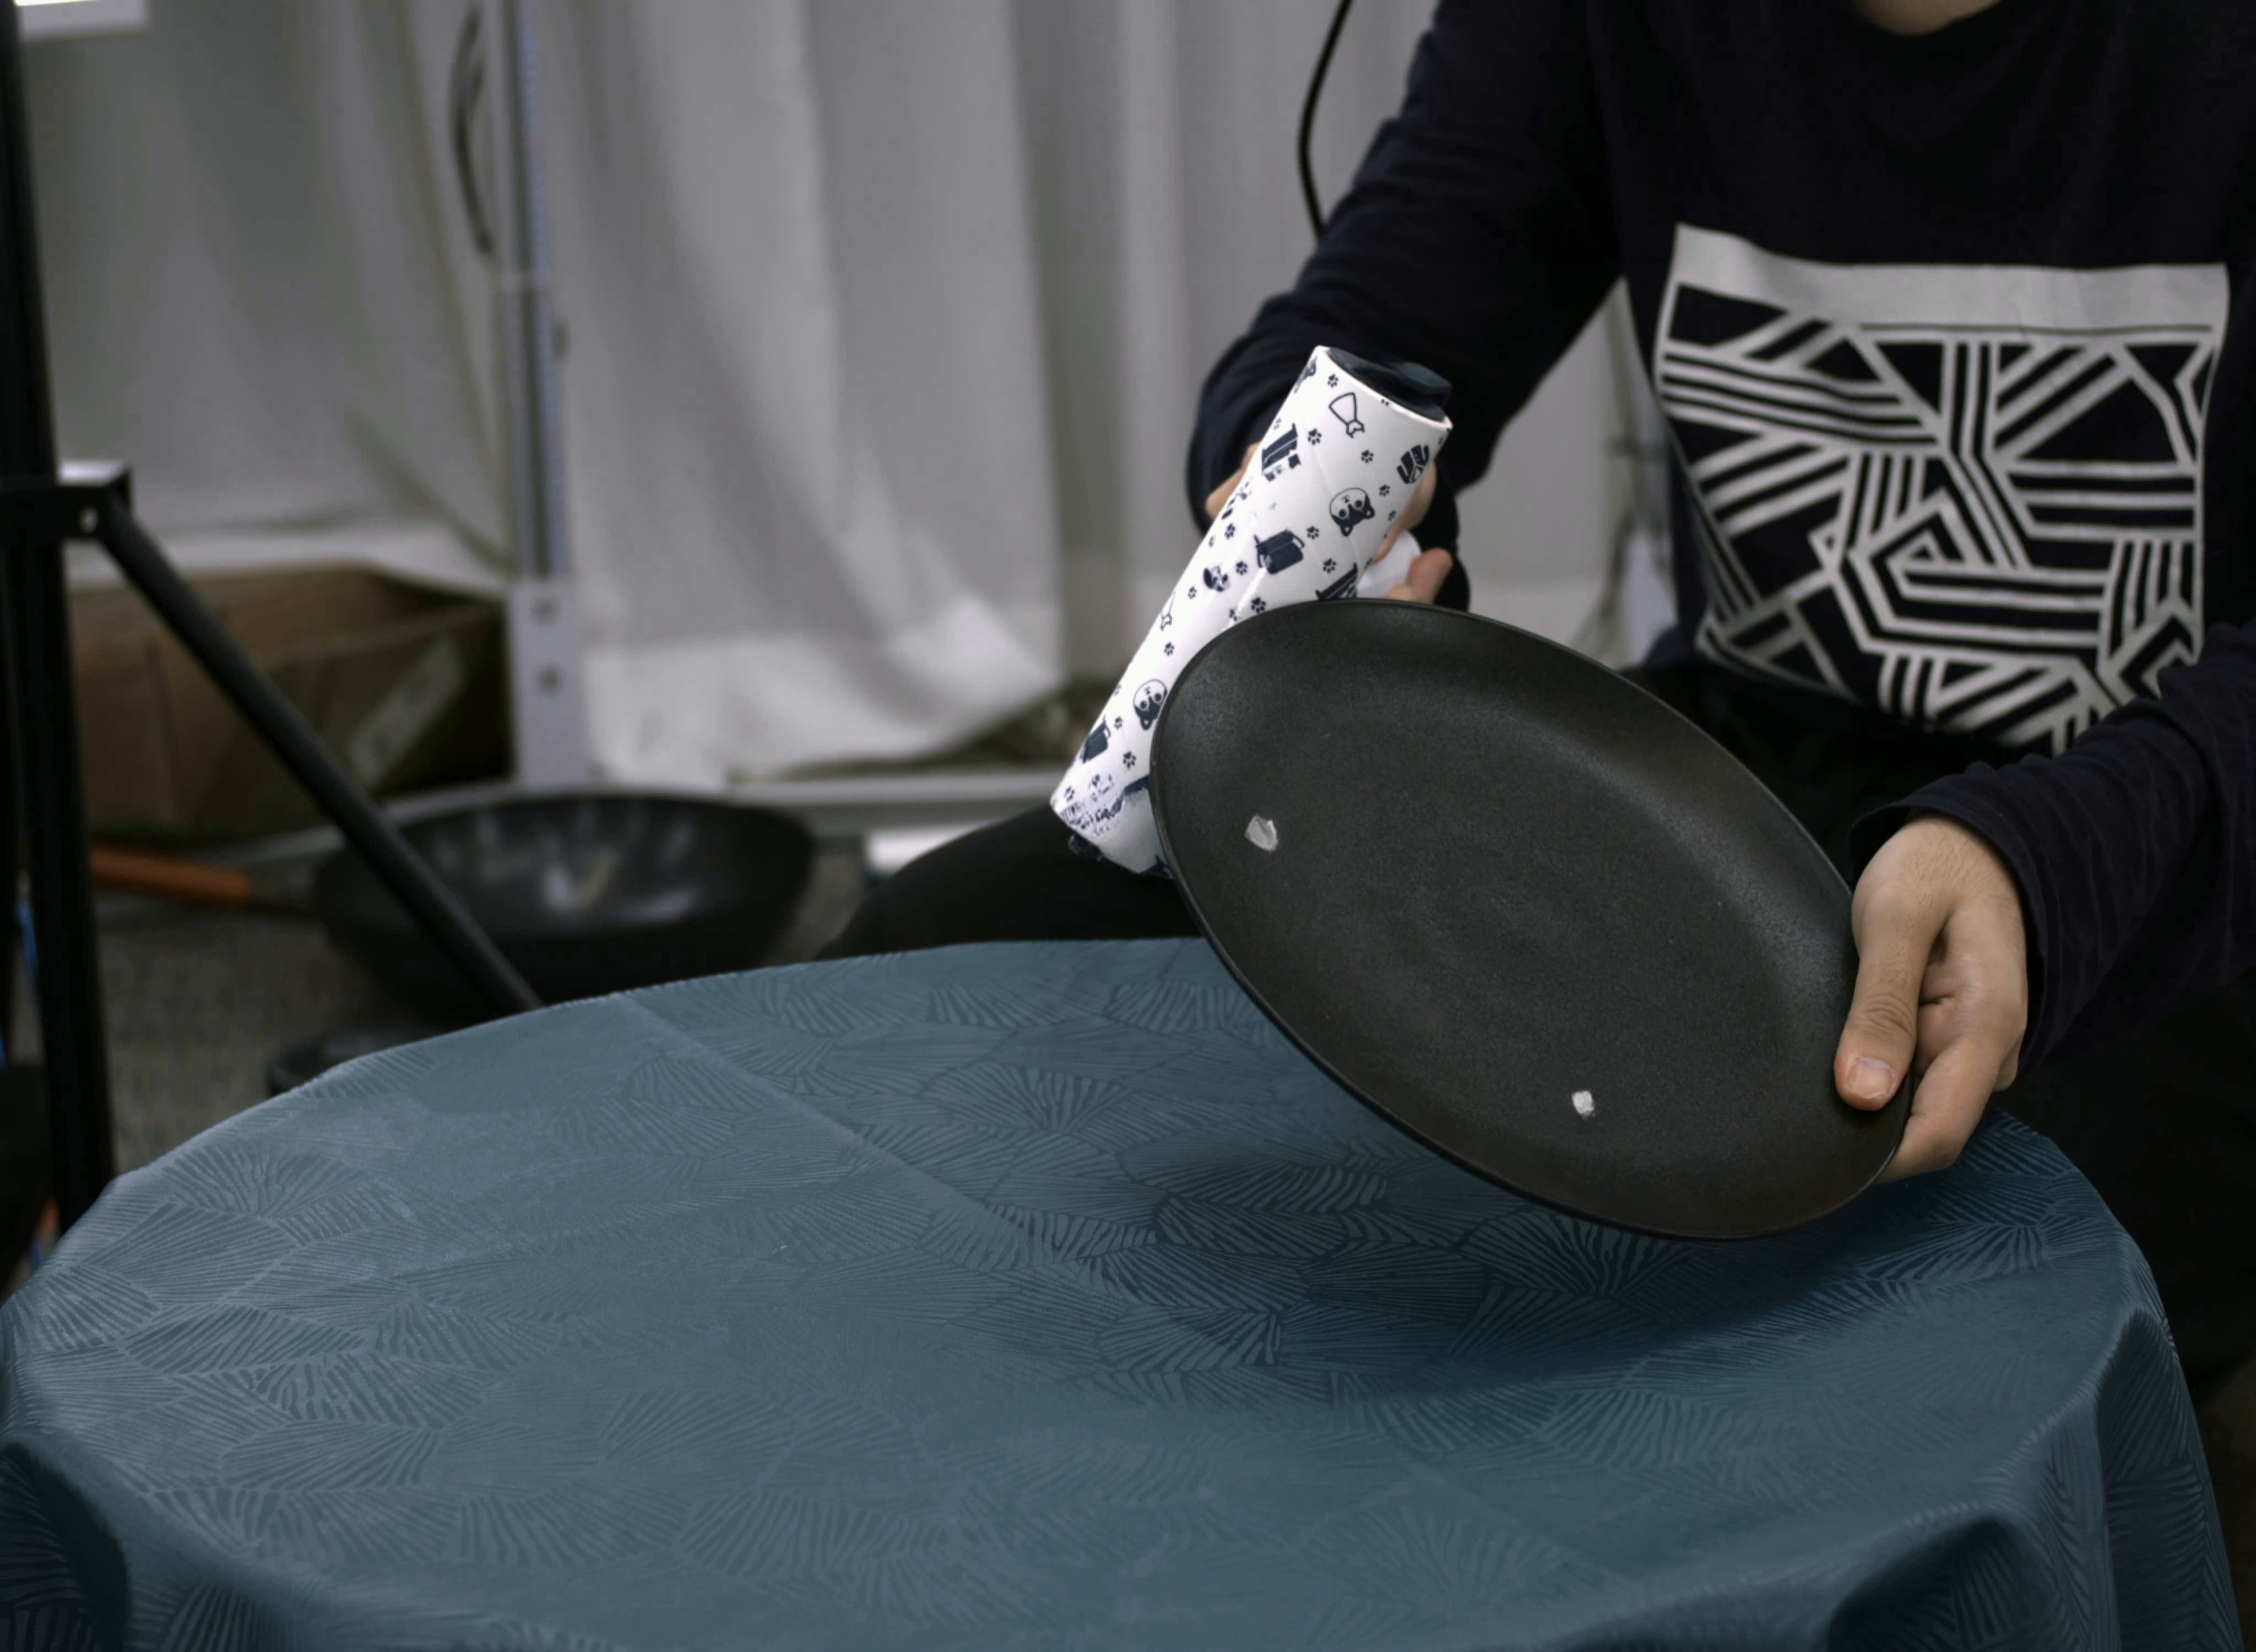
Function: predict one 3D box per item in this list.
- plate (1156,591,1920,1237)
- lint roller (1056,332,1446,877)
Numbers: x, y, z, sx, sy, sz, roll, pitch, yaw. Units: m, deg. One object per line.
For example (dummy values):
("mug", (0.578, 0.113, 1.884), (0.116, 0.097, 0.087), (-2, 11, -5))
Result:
("plate", (0.114, 0.028, 1.504), (0.240, 0.023, 0.247), (17, 39, -16))
("lint roller", (0.054, -0.080, 1.679), (0.050, 0.177, 0.245), (31, 13, 4))
